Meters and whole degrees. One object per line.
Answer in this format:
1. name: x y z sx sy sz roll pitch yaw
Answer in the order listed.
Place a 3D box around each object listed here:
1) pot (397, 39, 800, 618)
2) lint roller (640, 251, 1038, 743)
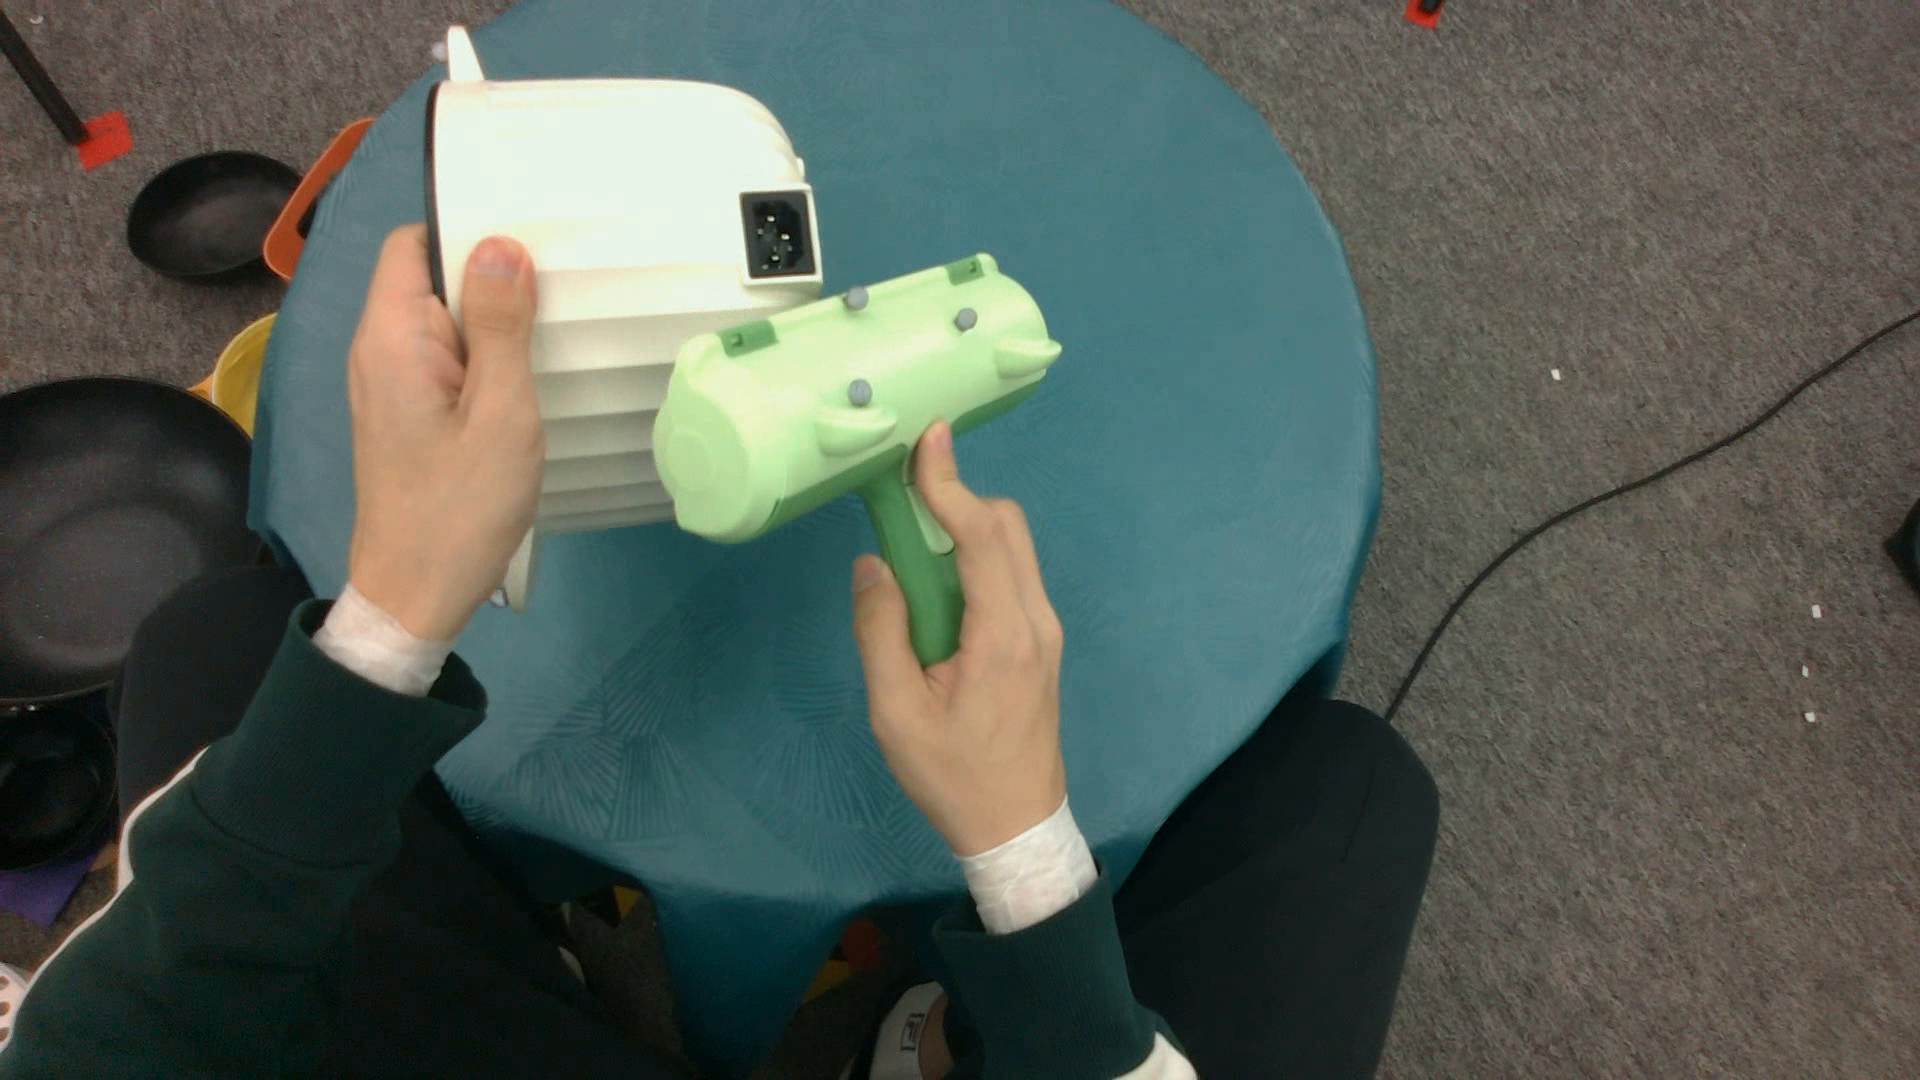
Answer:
1. pot: -0.144 -0.094 0.576 0.143 0.190 0.240 -7 85 -16
2. lint roller: -0.012 -0.011 0.525 0.199 0.082 0.183 -34 101 -54
